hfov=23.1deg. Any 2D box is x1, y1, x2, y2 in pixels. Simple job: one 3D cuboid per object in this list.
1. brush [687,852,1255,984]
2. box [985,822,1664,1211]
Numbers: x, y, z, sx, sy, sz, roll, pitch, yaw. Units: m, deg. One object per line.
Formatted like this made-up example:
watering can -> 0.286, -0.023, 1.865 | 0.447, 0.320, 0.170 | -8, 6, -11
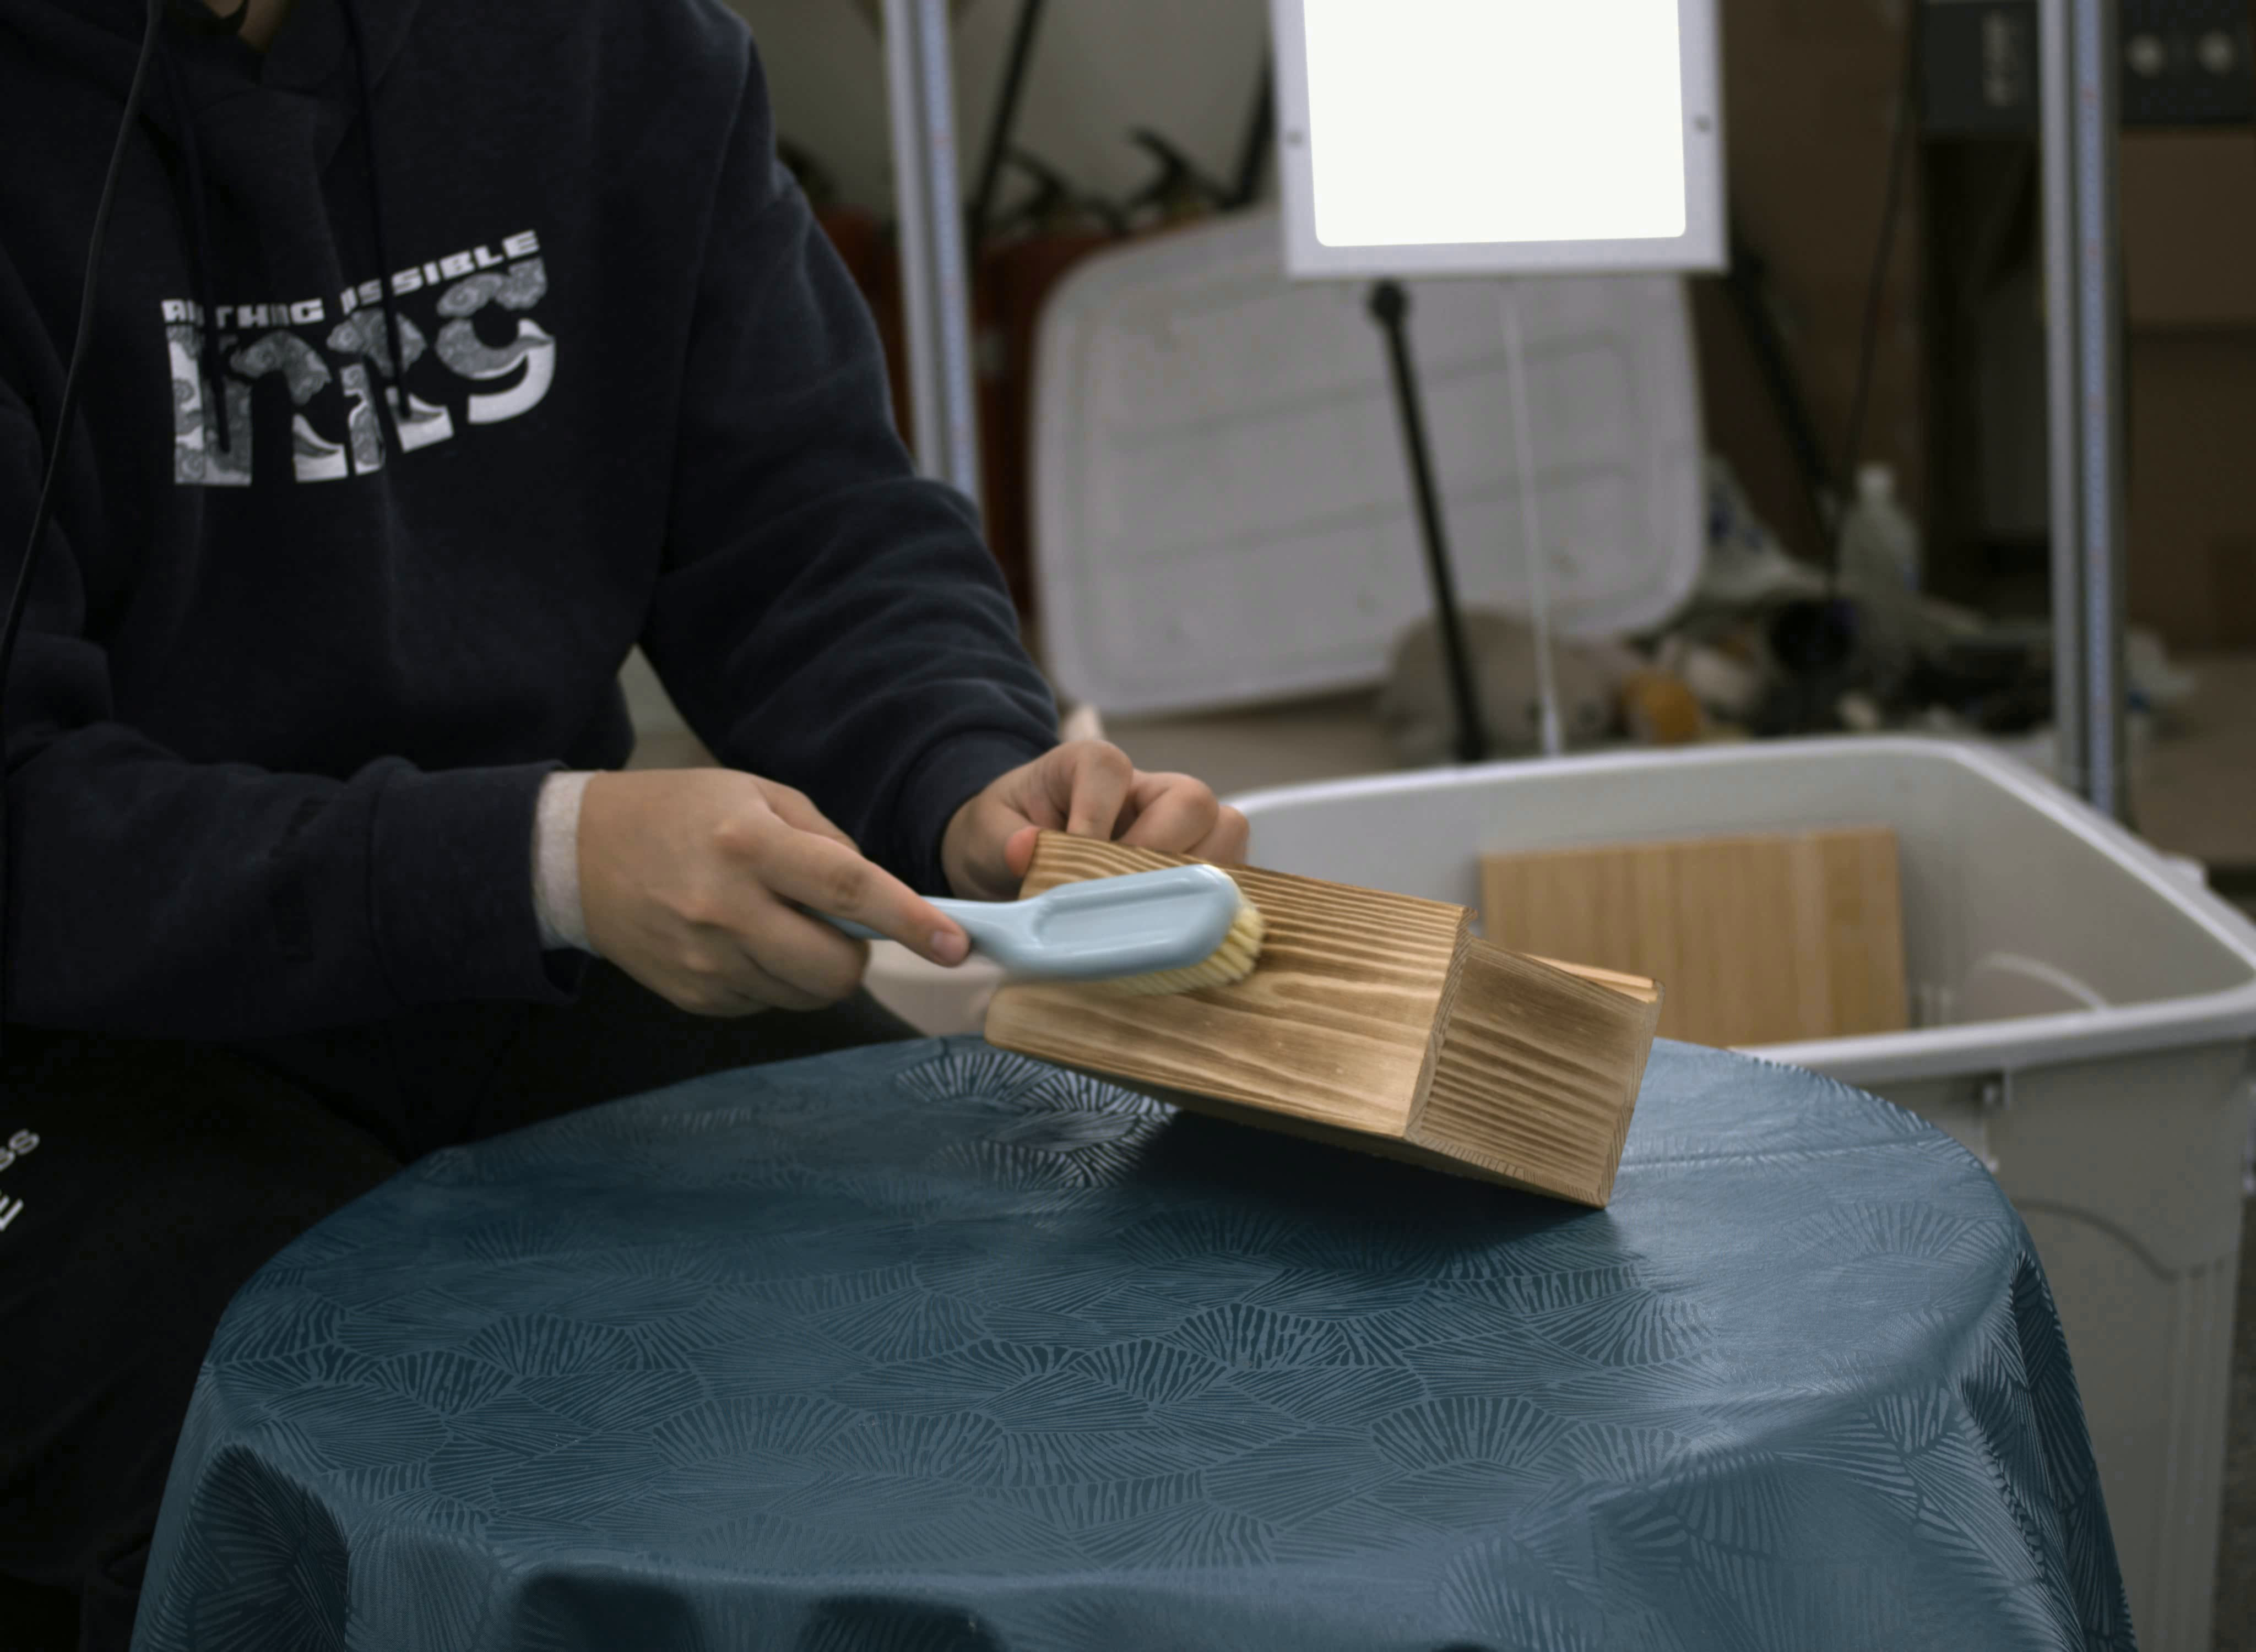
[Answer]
brush -> -0.058, 0.037, 1.893 | 0.233, 0.037, 0.049 | -4, -23, 33
box -> 0.065, 0.064, 1.883 | 0.105, 0.080, 0.216 | 20, -6, -42
